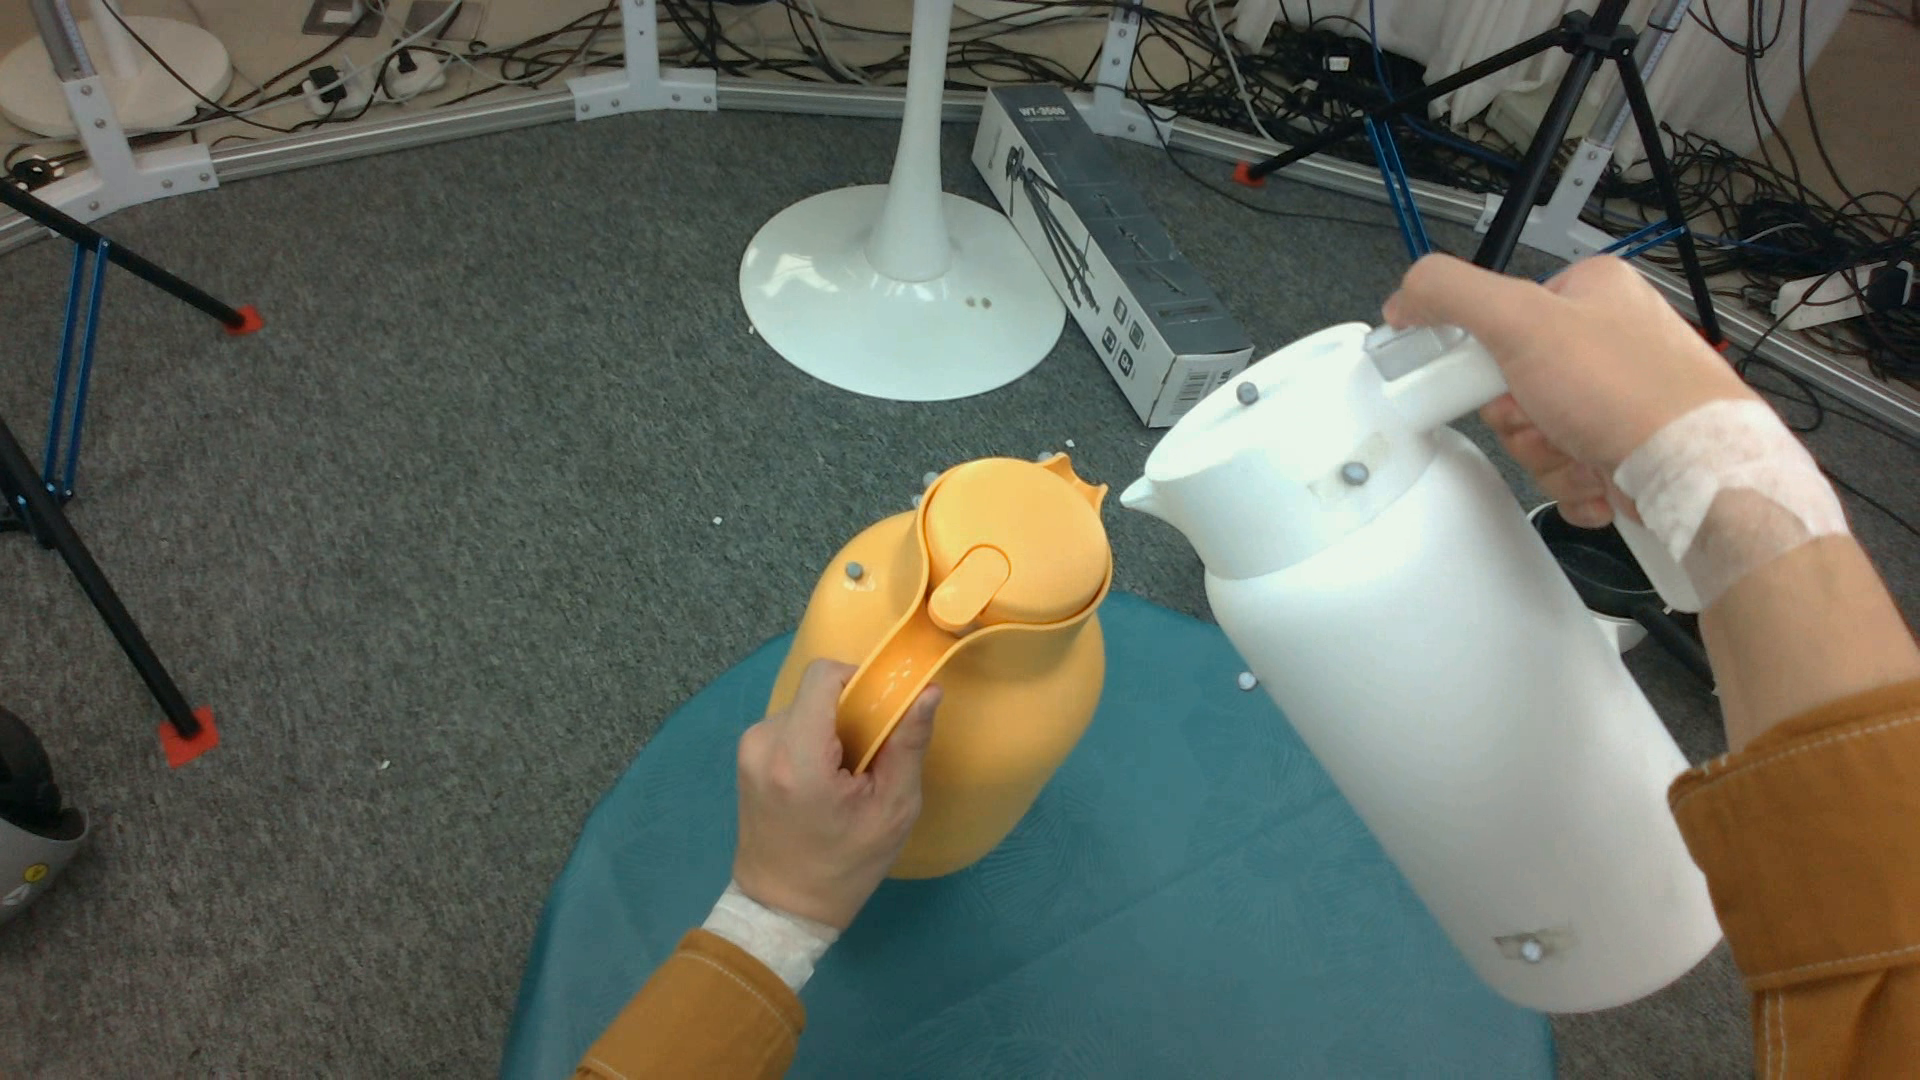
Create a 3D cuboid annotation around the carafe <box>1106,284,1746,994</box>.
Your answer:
[{"bbox_3d":[0.199,0.035,0.531,0.268,0.172,0.124,53,32,-9],"label":"carafe"}]

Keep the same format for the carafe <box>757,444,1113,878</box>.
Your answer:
[{"bbox_3d":[-0.020,0.070,0.717,0.163,0.259,0.203,39,49,11],"label":"carafe"}]
